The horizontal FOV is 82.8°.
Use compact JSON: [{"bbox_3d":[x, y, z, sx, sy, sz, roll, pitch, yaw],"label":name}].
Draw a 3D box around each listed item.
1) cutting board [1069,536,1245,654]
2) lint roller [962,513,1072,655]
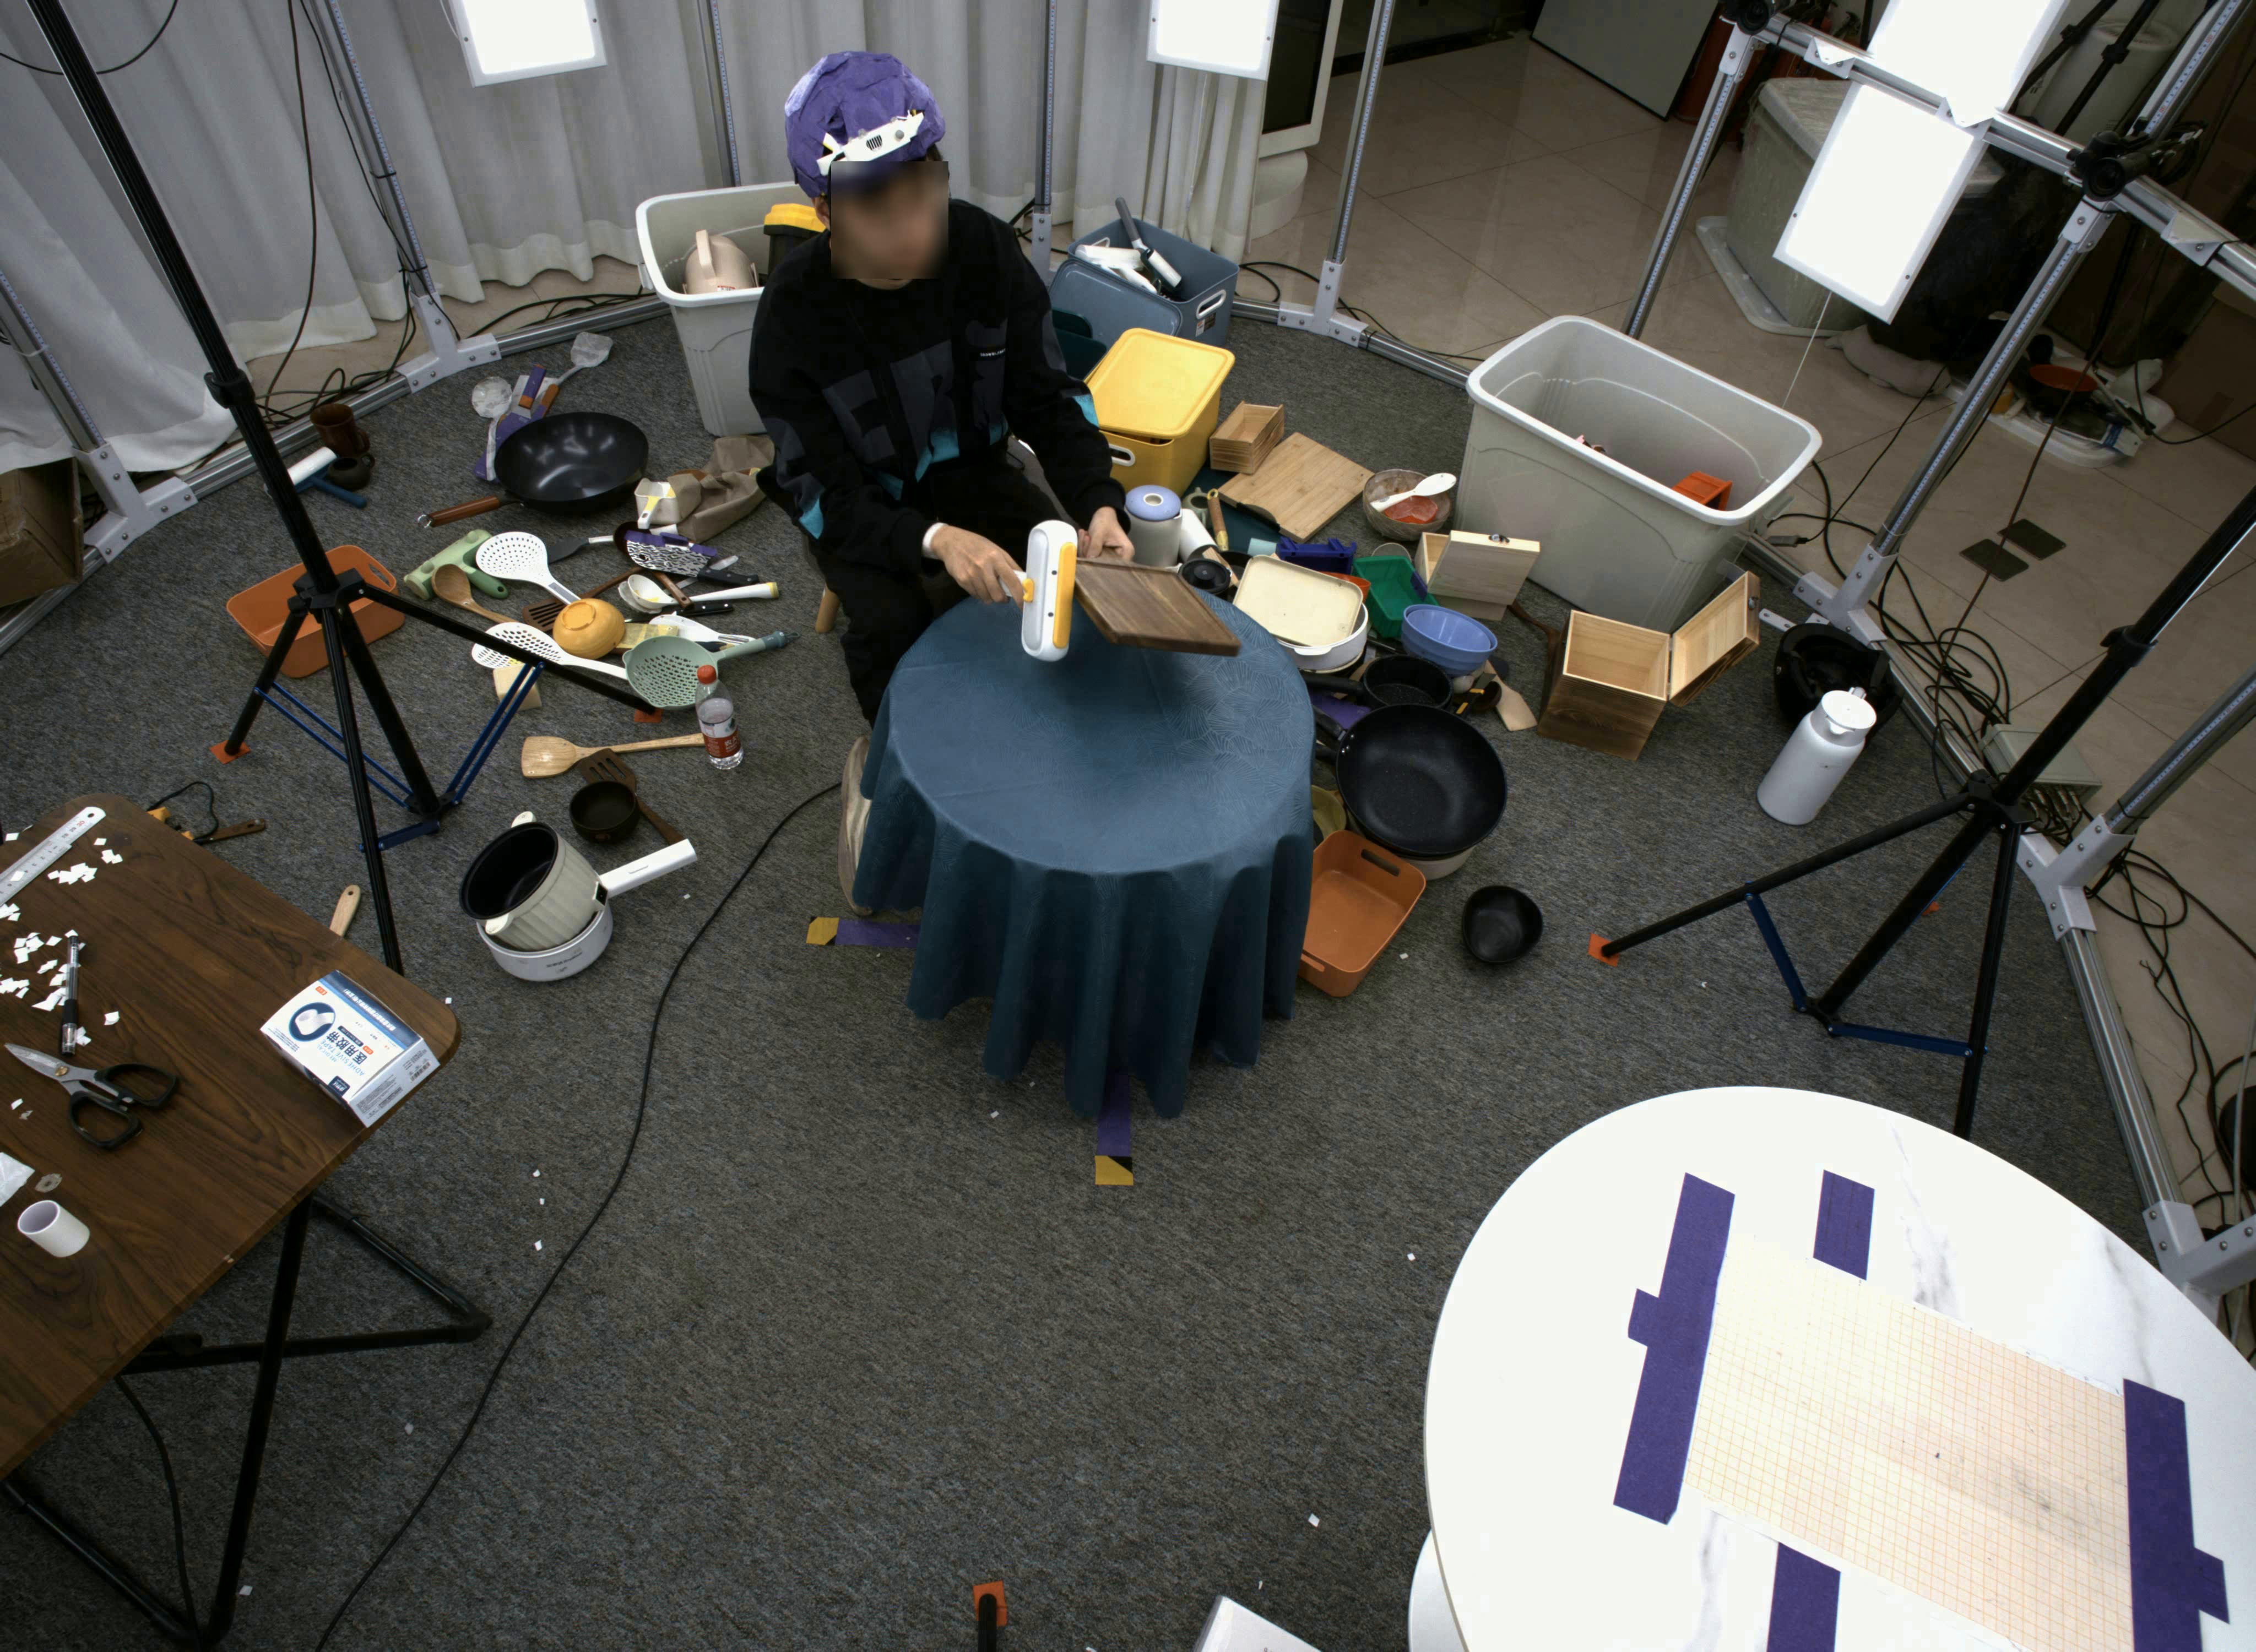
[{"bbox_3d":[0.009,-0.335,1.823,0.200,0.023,0.360,1,32,-25],"label":"cutting board"},{"bbox_3d":[-0.154,-0.344,1.815,0.074,0.190,0.194,-16,23,-40],"label":"lint roller"}]
